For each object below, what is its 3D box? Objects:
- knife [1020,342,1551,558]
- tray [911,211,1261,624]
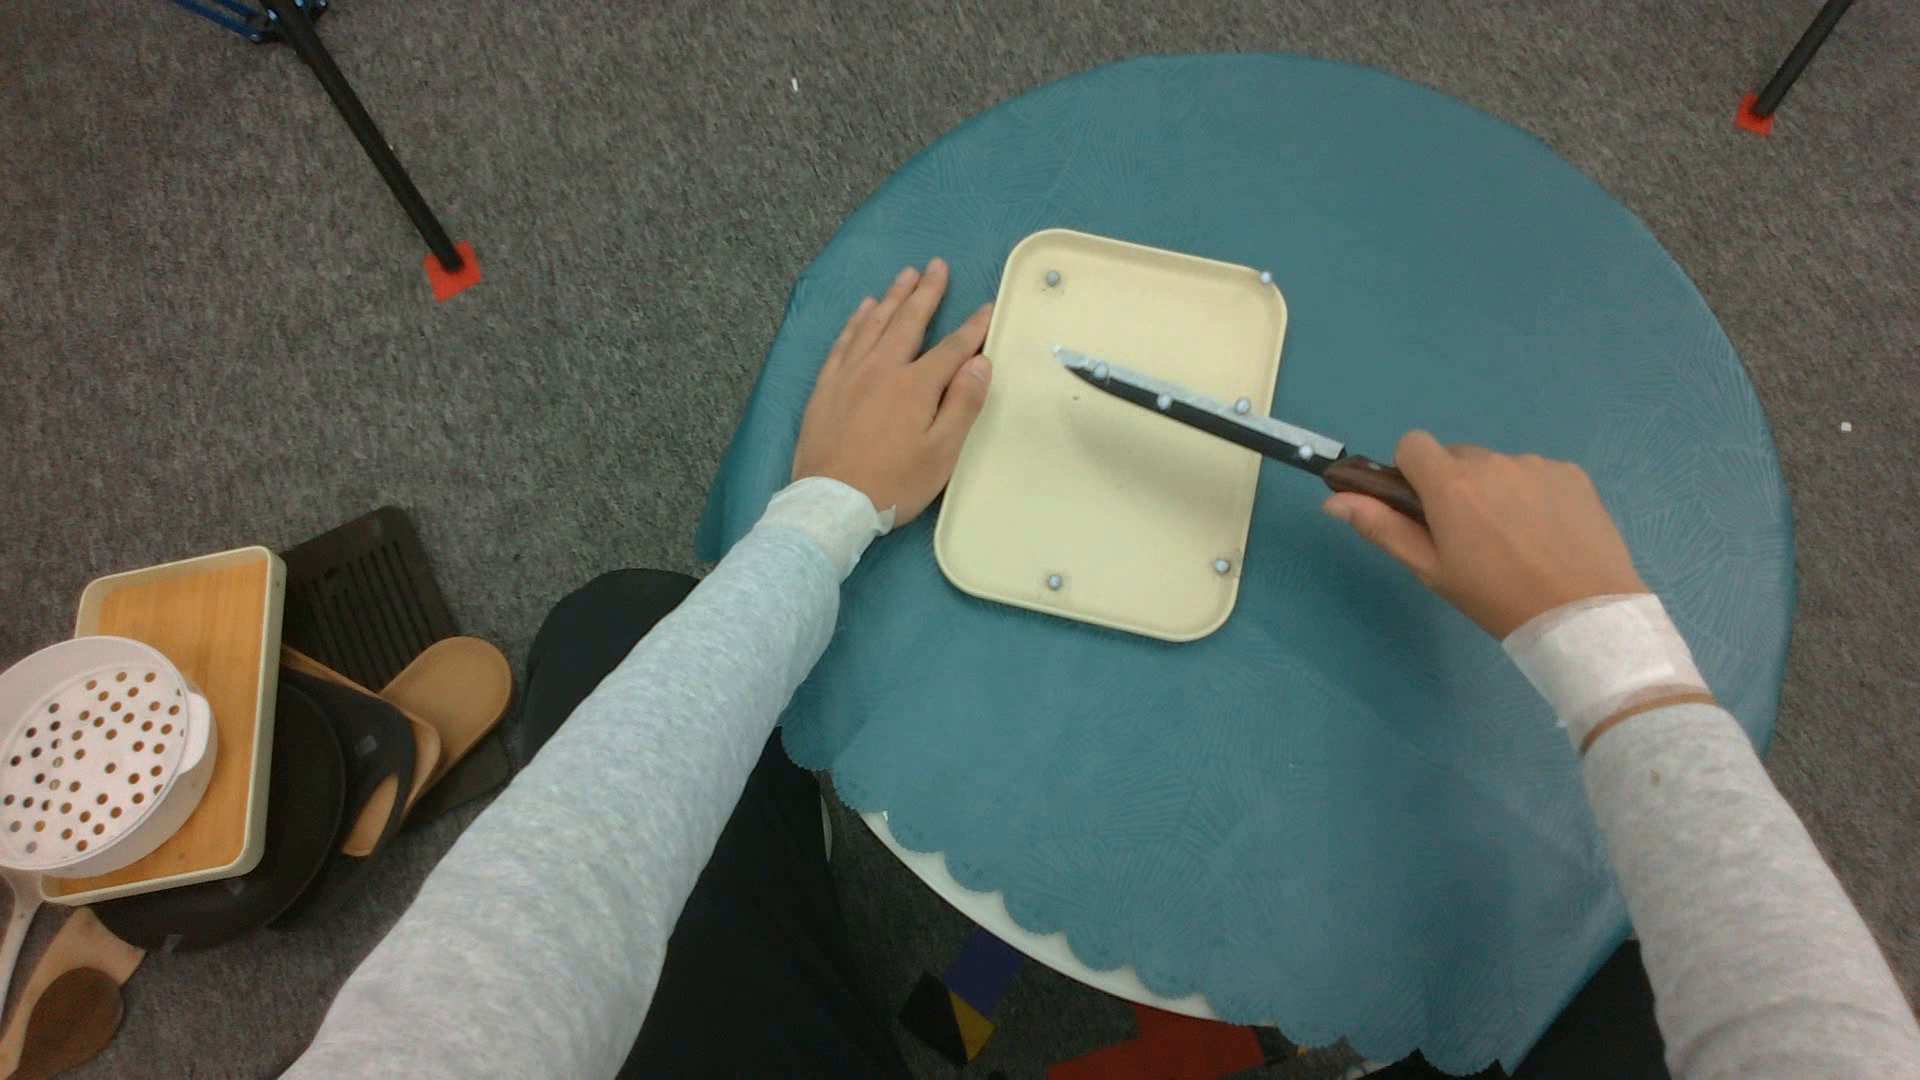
[{"bbox_3d":[0.161,-0.053,0.715,0.289,0.020,0.050,23,31,14],"label":"knife"},{"bbox_3d":[0.075,-0.074,0.791,0.171,0.017,0.240,13,70,3],"label":"tray"}]
